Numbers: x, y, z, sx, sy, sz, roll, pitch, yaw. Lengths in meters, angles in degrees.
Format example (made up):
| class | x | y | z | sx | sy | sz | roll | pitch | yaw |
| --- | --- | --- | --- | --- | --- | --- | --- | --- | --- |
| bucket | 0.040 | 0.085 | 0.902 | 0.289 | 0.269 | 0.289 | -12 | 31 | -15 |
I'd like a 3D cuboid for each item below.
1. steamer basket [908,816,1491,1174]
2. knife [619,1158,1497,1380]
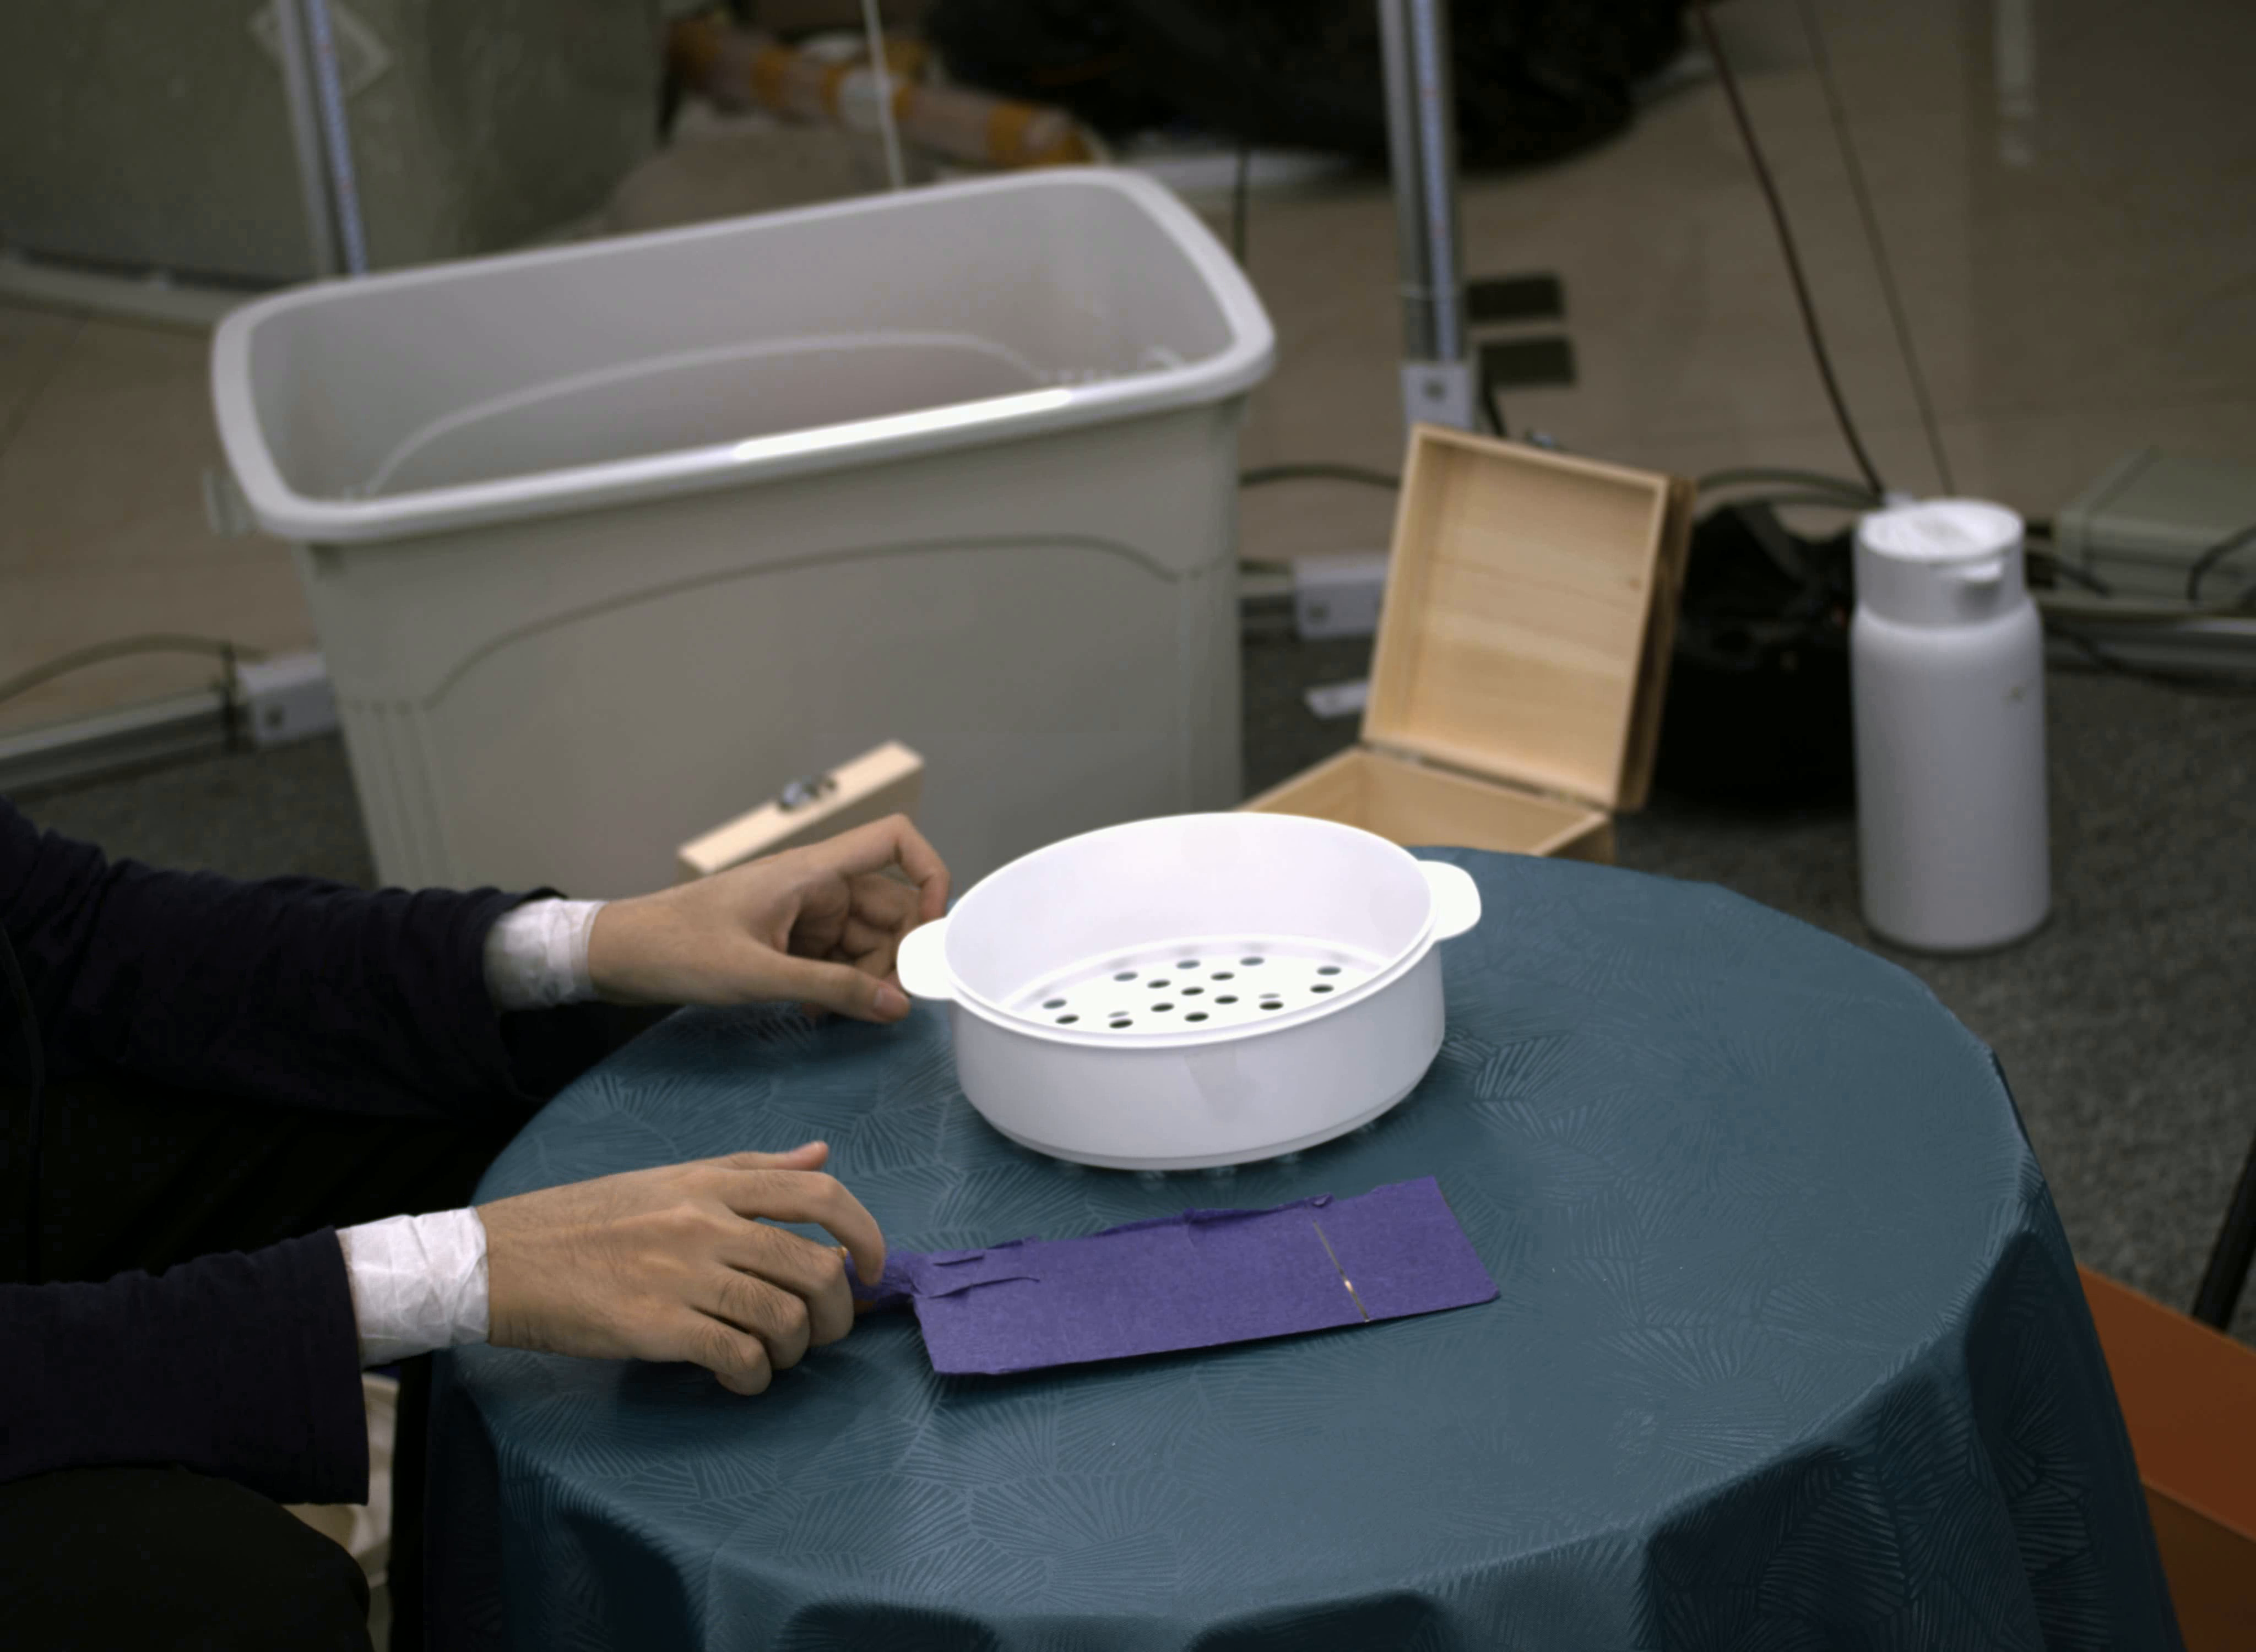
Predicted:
| class | x | y | z | sx | sy | sz | roll | pitch | yaw |
| --- | --- | --- | --- | --- | --- | --- | --- | --- | --- |
| steamer basket | 0.032 | 0.066 | 2.222 | 0.230 | 0.070 | 0.199 | -9 | 24 | 1 |
| knife | -0.026 | 0.167 | 2.064 | 0.314 | 0.033 | 0.102 | -10 | 24 | -8 |
